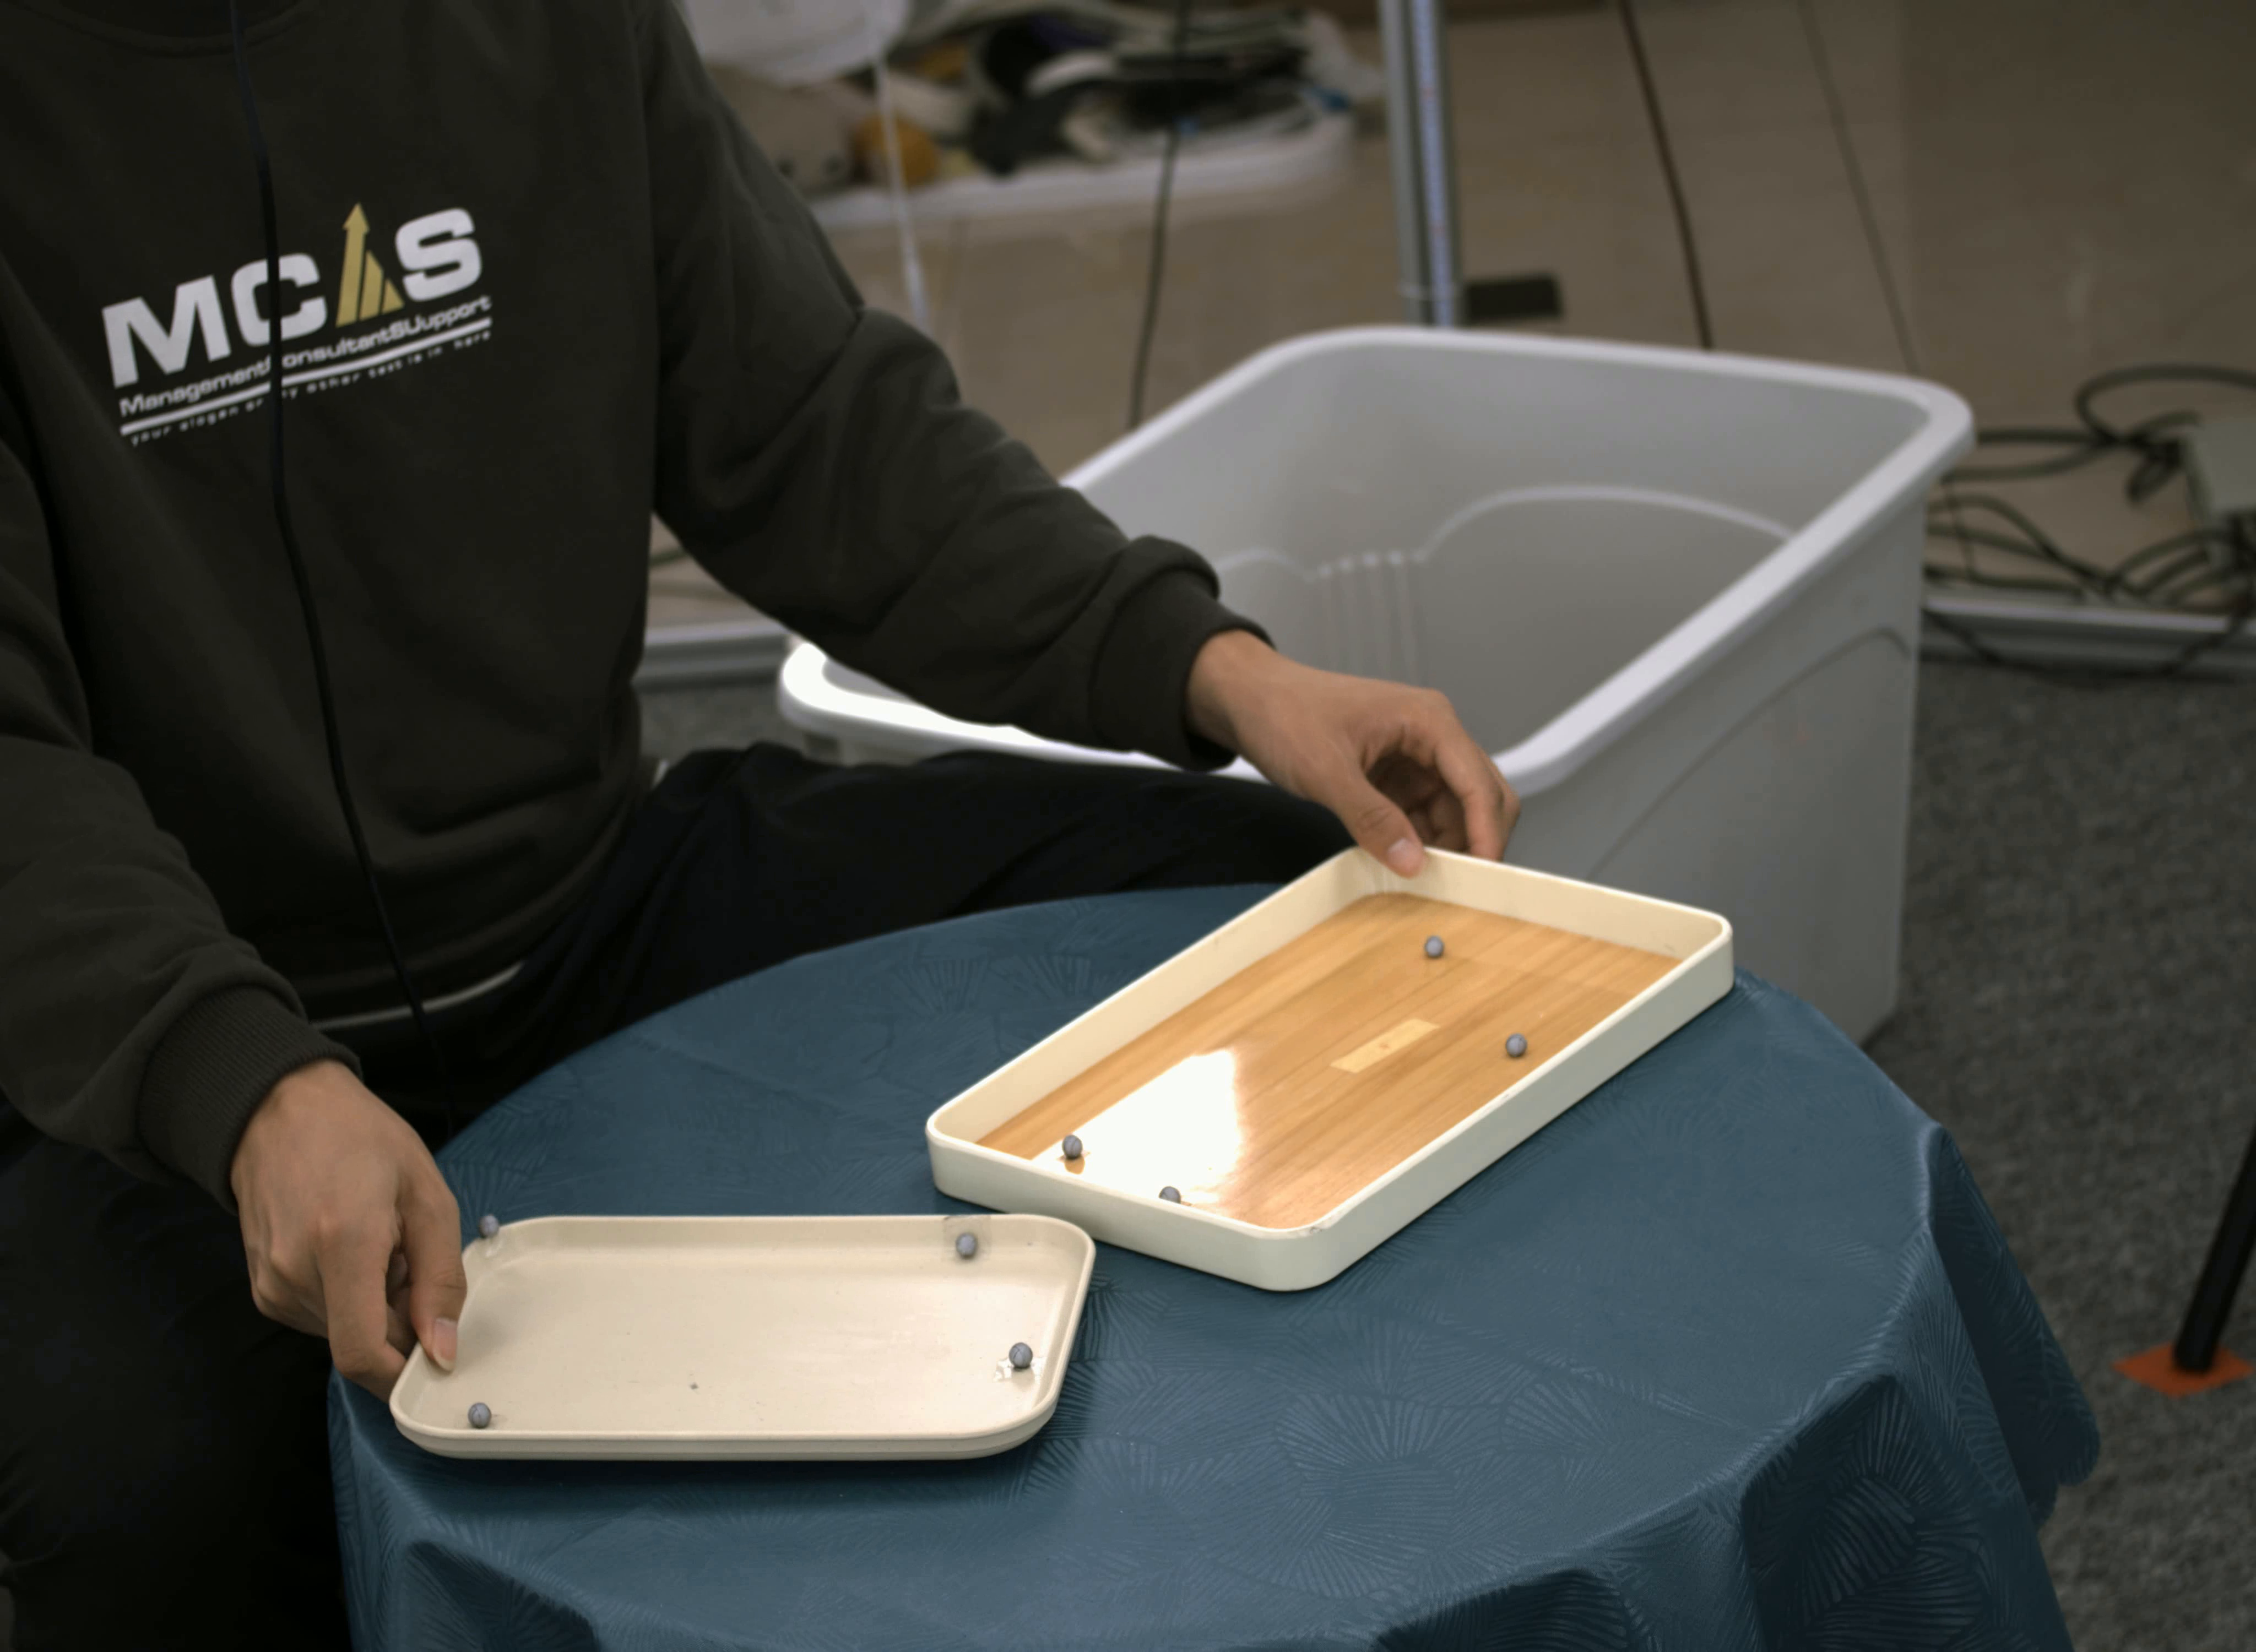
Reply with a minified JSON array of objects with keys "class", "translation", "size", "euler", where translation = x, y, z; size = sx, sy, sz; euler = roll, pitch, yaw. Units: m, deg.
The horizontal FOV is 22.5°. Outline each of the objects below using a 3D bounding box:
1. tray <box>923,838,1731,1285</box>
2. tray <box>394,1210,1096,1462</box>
[{"class":"tray","translation":[0.081,0.087,2.208],"size":[0.190,0.028,0.297],"euler":[13,31,37]},{"class":"tray","translation":[-0.135,0.185,2.048],"size":[0.239,0.018,0.169],"euler":[-1,24,8]}]
